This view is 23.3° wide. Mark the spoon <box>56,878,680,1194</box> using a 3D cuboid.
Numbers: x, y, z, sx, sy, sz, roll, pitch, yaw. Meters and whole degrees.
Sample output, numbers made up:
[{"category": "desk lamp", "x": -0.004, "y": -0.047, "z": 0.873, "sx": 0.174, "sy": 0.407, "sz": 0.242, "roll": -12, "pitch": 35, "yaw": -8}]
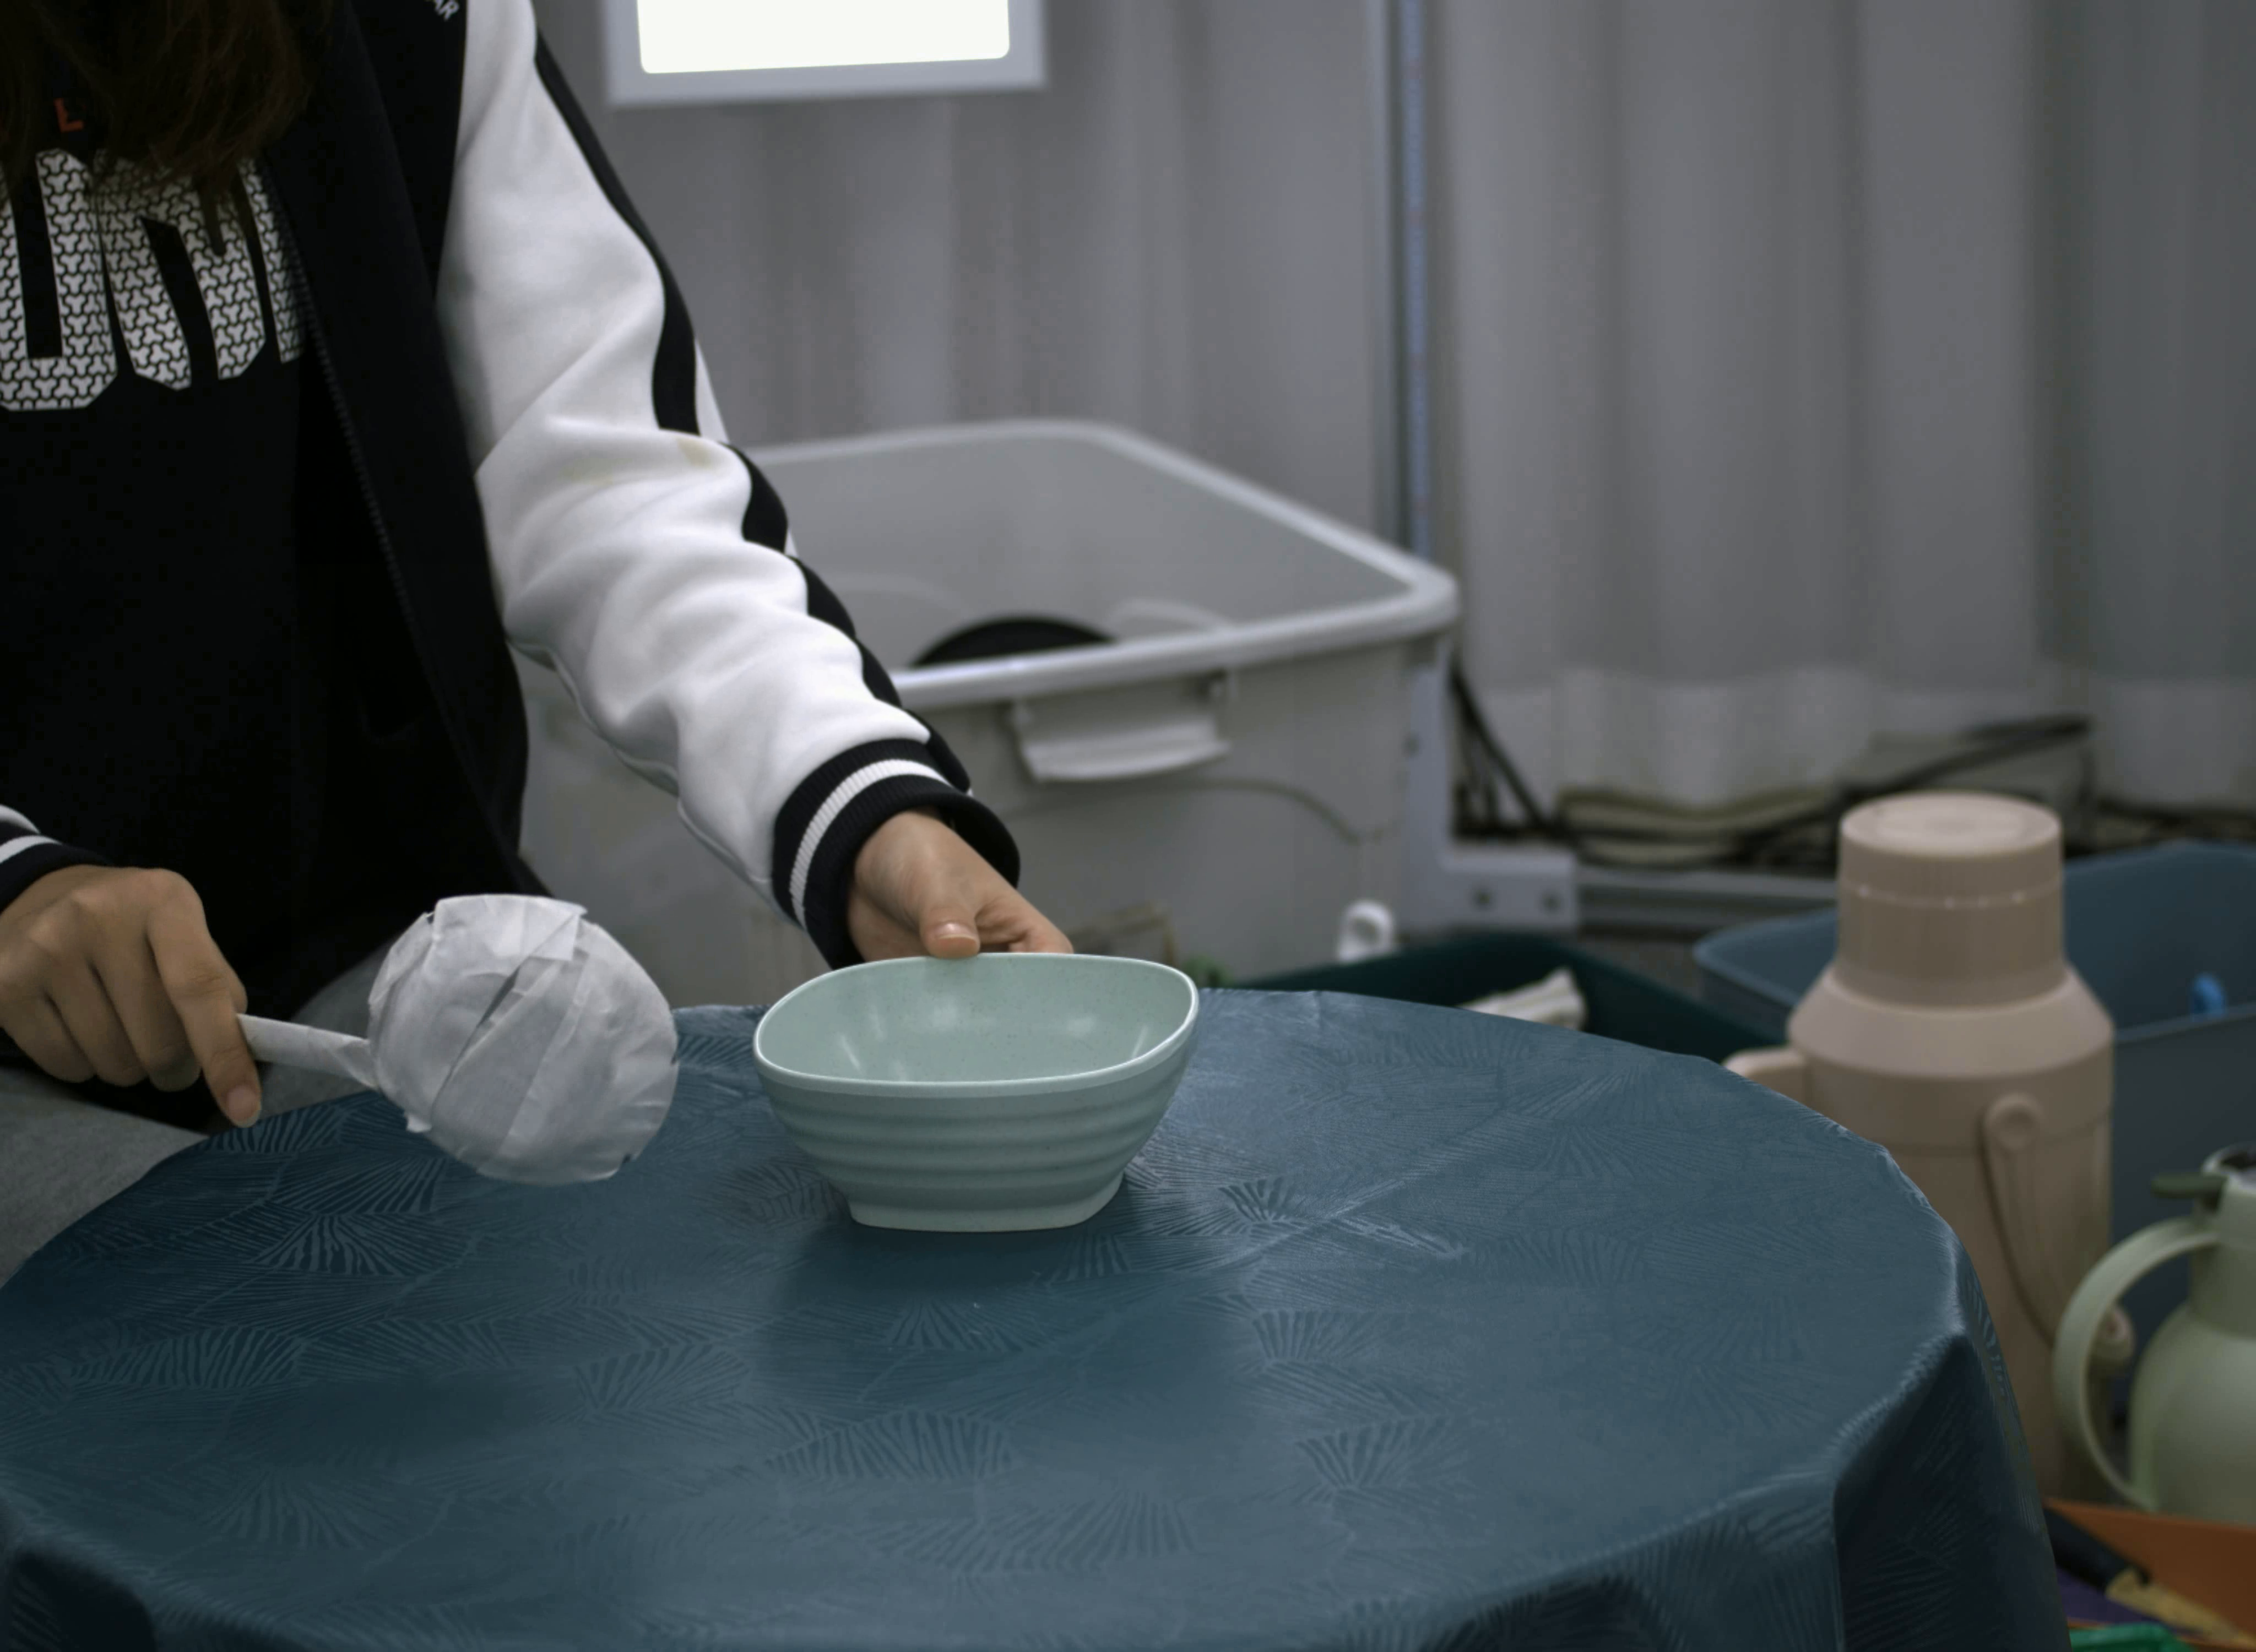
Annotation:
[{"category": "spoon", "x": -0.234, "y": 0.060, "z": 1.655, "sx": 0.059, "sy": 0.100, "sz": 0.278, "roll": -24, "pitch": 16, "yaw": -35}]

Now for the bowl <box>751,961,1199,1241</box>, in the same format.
[{"category": "bowl", "x": -0.046, "y": 0.089, "z": 1.717, "sx": 0.151, "sy": 0.058, "sz": 0.152, "roll": -3, "pitch": 15, "yaw": 0}]
